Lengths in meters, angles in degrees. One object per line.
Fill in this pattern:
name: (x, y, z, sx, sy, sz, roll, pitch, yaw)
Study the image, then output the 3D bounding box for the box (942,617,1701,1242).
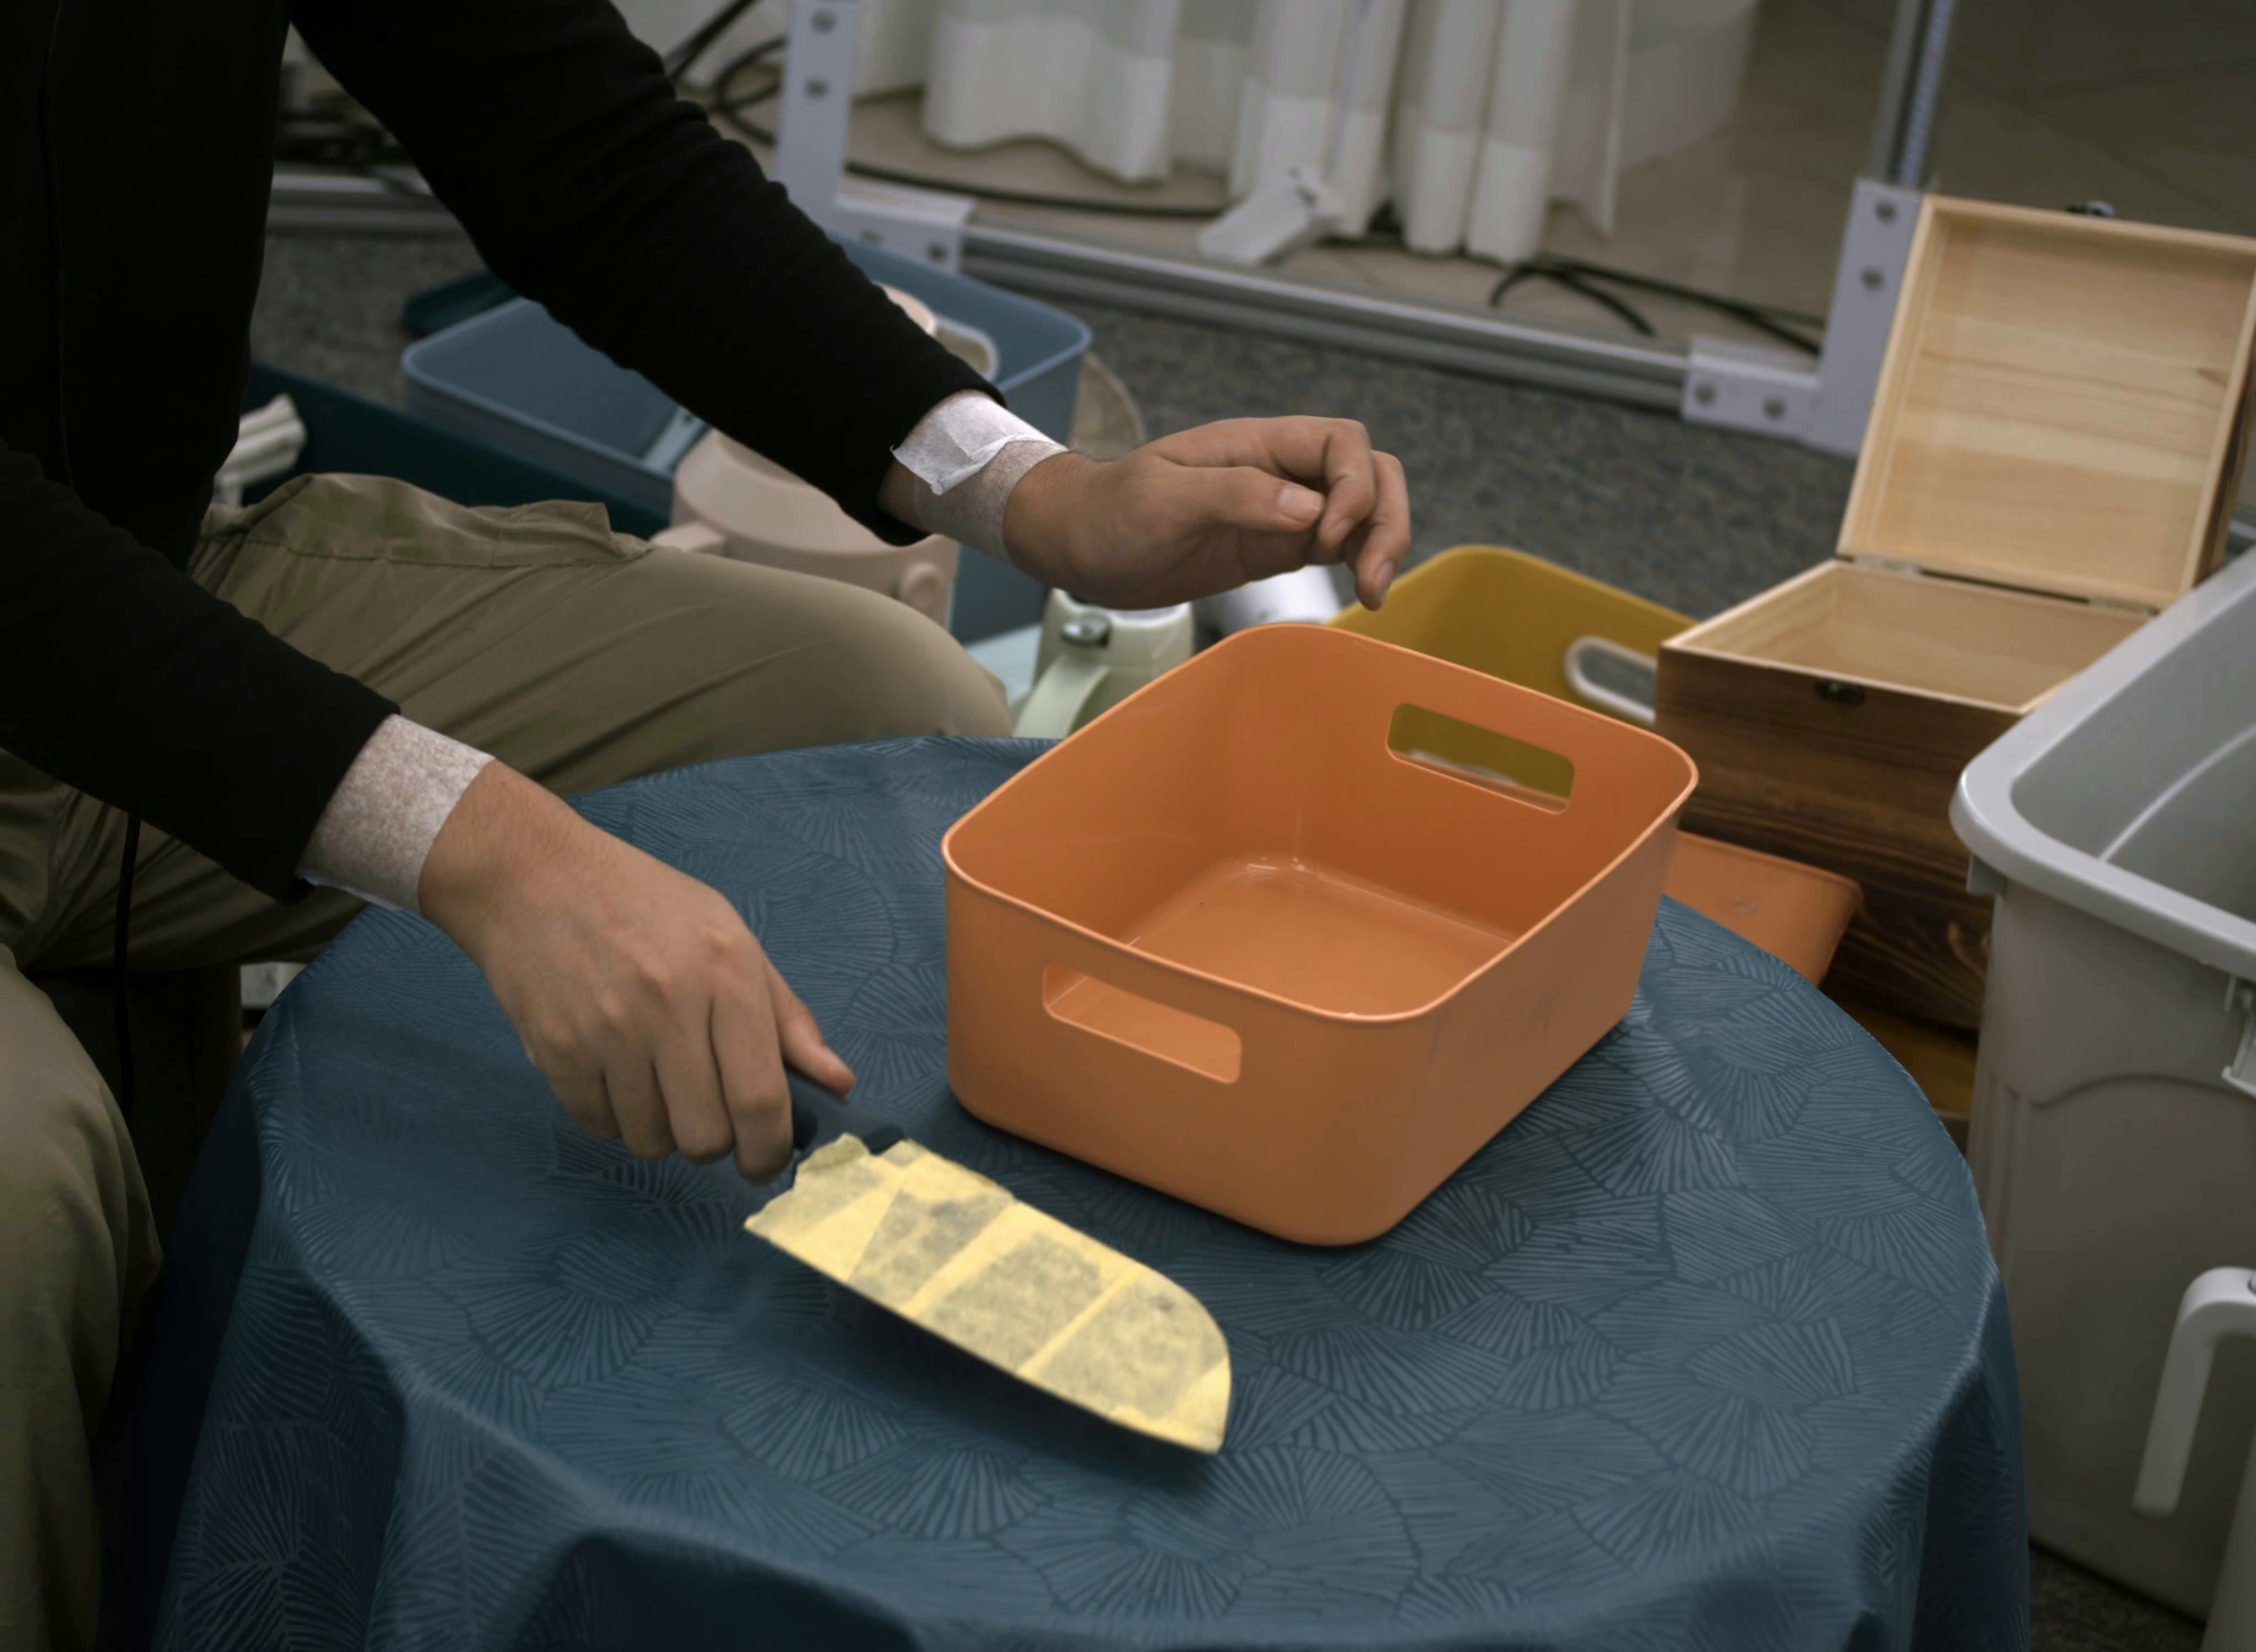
box: (0.064, 0.035, 1.877, 0.200, 0.102, 0.273, 20, 30, 23)

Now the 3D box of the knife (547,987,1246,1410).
knife: (-0.082, 0.121, 1.712, 0.291, 0.027, 0.081, 26, 34, 27)
